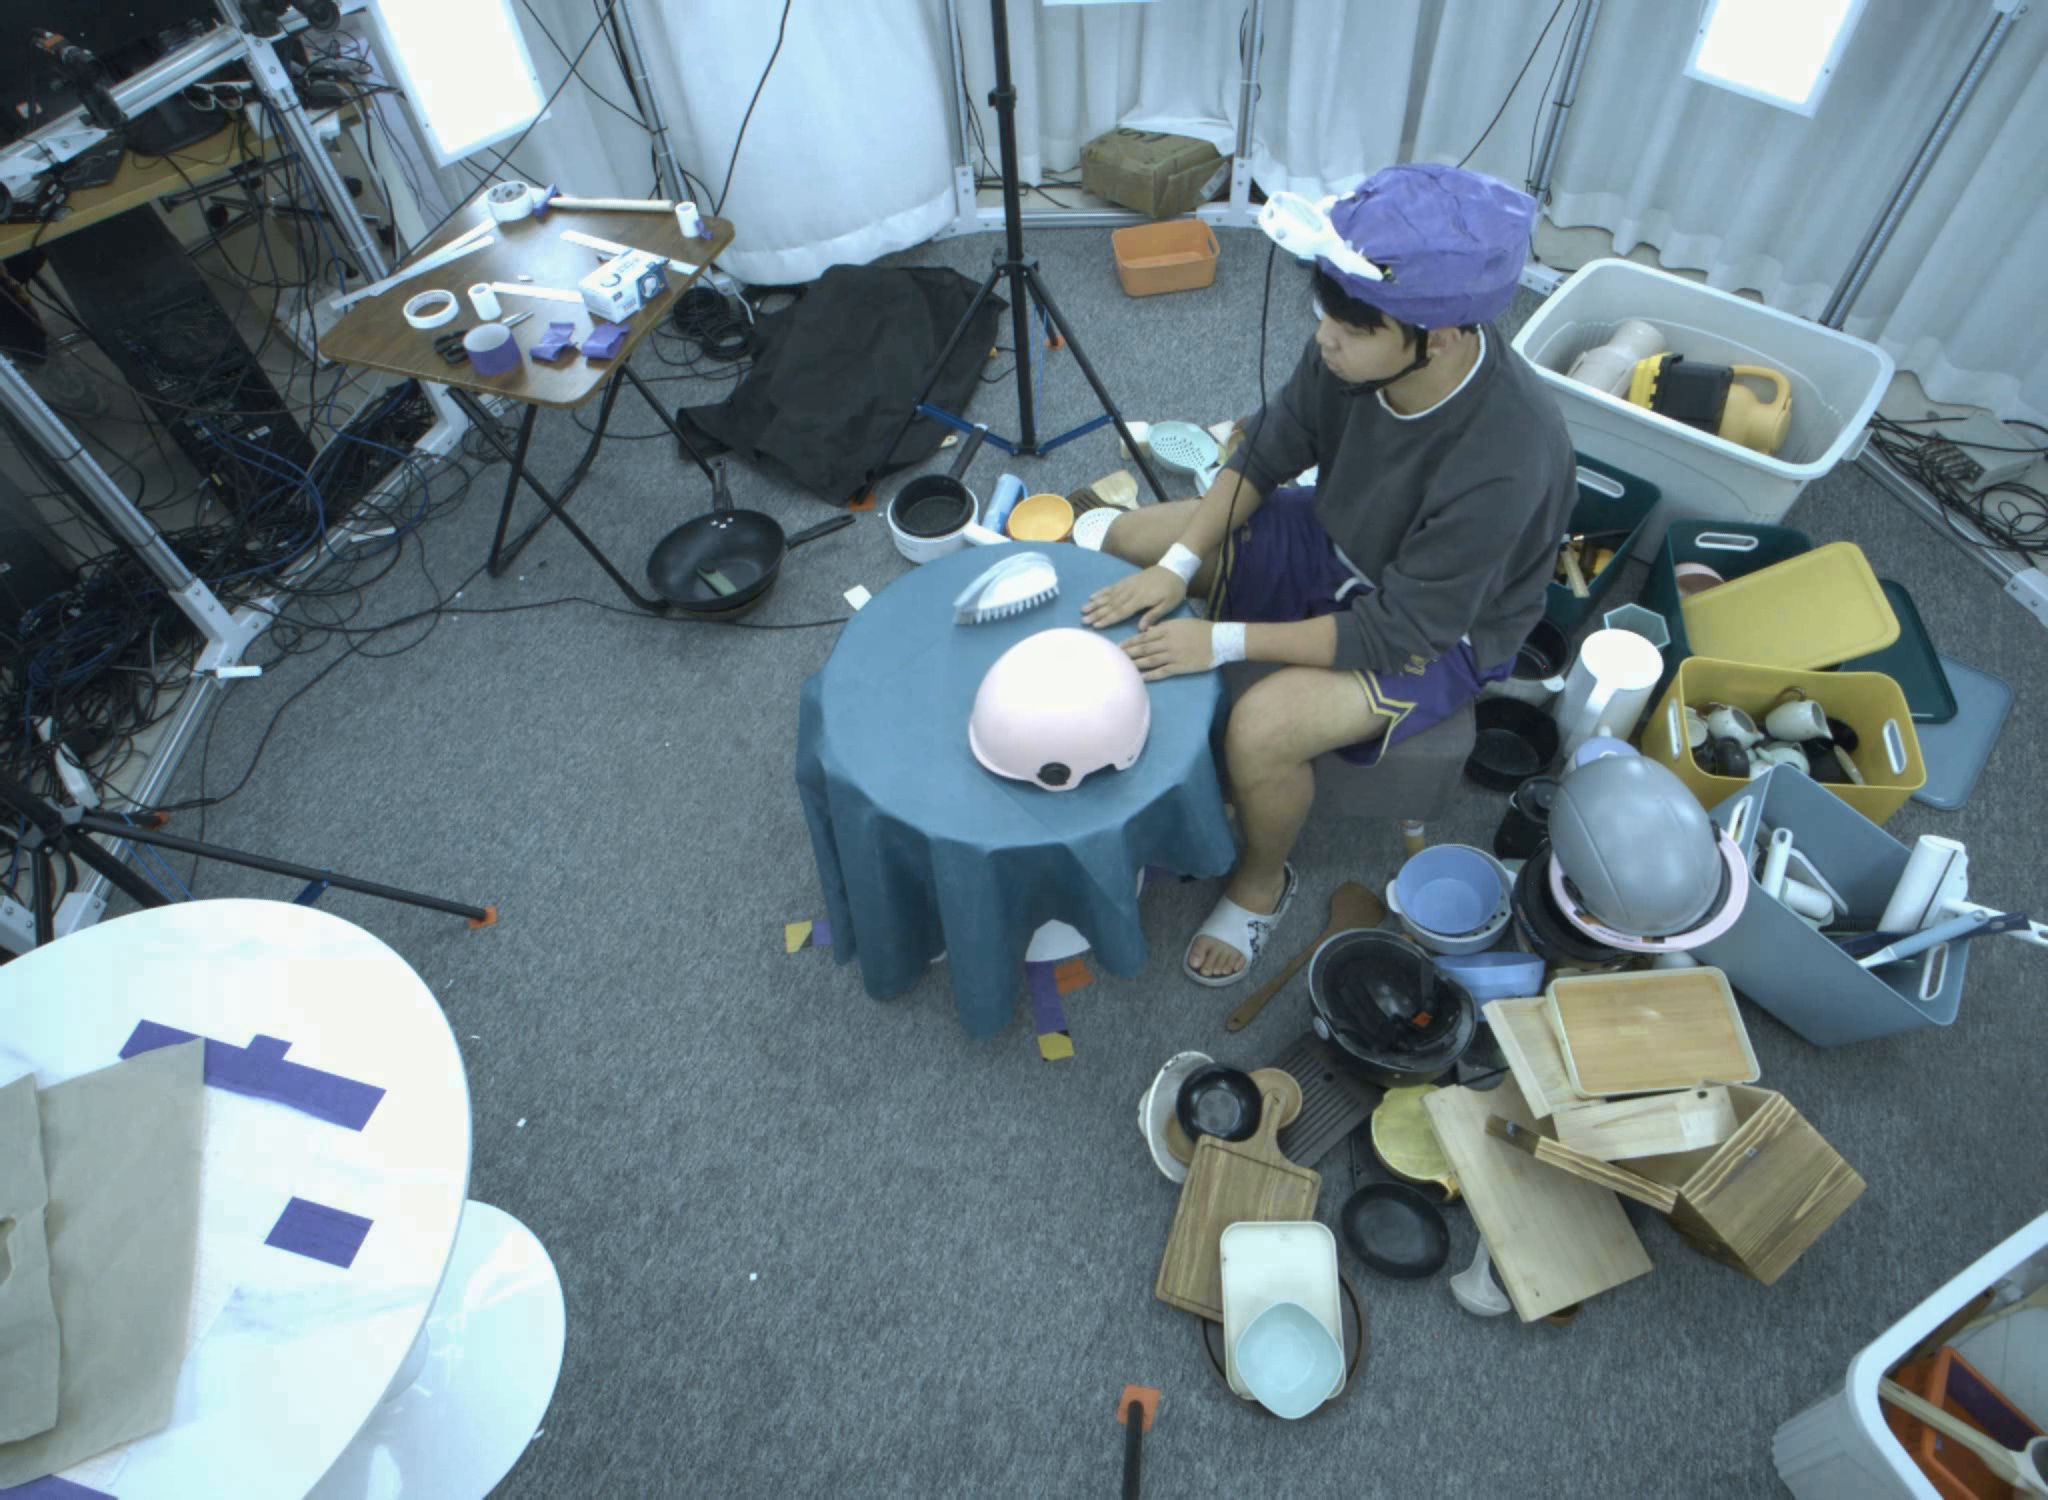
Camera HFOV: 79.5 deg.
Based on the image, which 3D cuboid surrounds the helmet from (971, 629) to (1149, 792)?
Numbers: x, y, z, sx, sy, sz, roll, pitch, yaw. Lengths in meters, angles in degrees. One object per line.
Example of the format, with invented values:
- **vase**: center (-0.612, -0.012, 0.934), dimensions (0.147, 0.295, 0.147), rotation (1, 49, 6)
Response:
- **helmet**: center (0.044, -0.076, 1.750), dimensions (0.266, 0.161, 0.230), rotation (-13, 55, -2)

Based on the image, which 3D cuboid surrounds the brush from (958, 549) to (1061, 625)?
- **brush**: center (-0.031, -0.258, 1.918), dimensions (0.176, 0.095, 0.060), rotation (-25, 56, -12)
